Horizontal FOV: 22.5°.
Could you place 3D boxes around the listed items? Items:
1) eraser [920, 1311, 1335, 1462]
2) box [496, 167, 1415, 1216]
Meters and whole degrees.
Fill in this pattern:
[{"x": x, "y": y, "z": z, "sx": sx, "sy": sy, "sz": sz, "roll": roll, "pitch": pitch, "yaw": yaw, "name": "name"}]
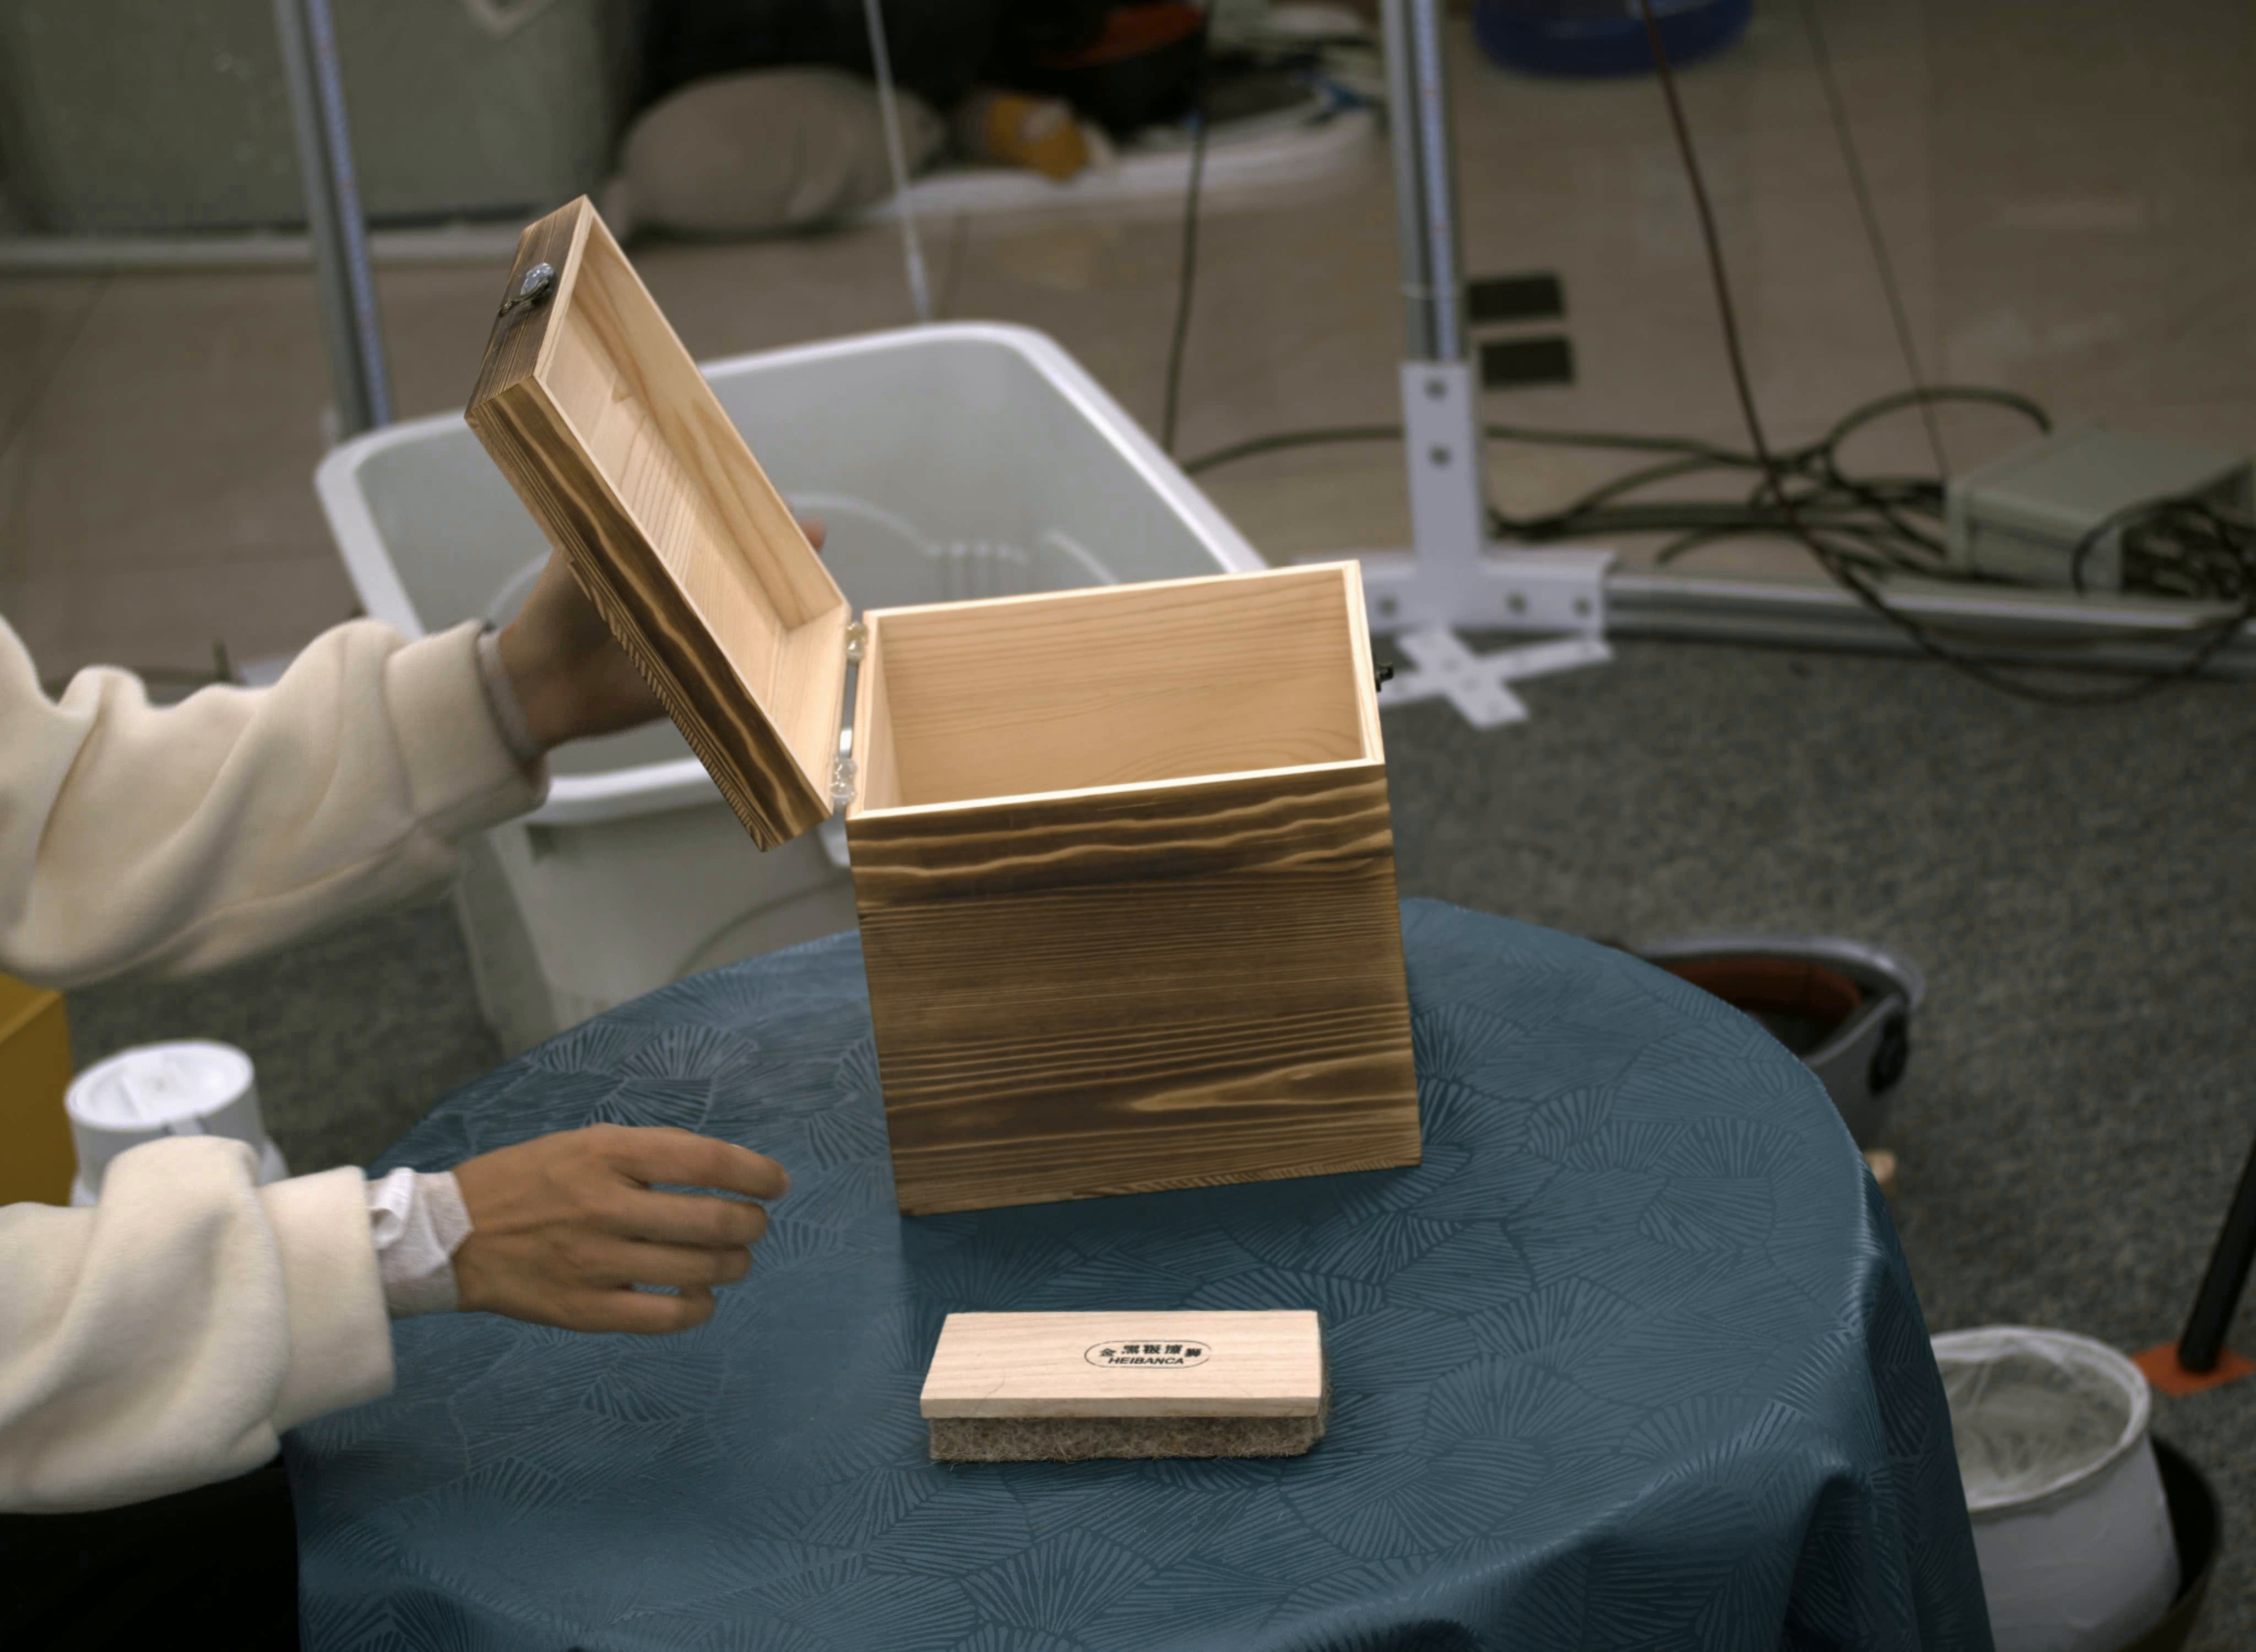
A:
[{"x": 0.001, "y": 0.197, "z": 1.990, "sx": 0.139, "sy": 0.029, "sz": 0.056, "roll": -2, "pitch": 28, "yaw": 12, "name": "eraser"}, {"x": -0.058, "y": -0.060, "z": 2.152, "sx": 0.321, "sy": 0.381, "sz": 0.205, "roll": -6, "pitch": 27, "yaw": 1, "name": "box"}]
